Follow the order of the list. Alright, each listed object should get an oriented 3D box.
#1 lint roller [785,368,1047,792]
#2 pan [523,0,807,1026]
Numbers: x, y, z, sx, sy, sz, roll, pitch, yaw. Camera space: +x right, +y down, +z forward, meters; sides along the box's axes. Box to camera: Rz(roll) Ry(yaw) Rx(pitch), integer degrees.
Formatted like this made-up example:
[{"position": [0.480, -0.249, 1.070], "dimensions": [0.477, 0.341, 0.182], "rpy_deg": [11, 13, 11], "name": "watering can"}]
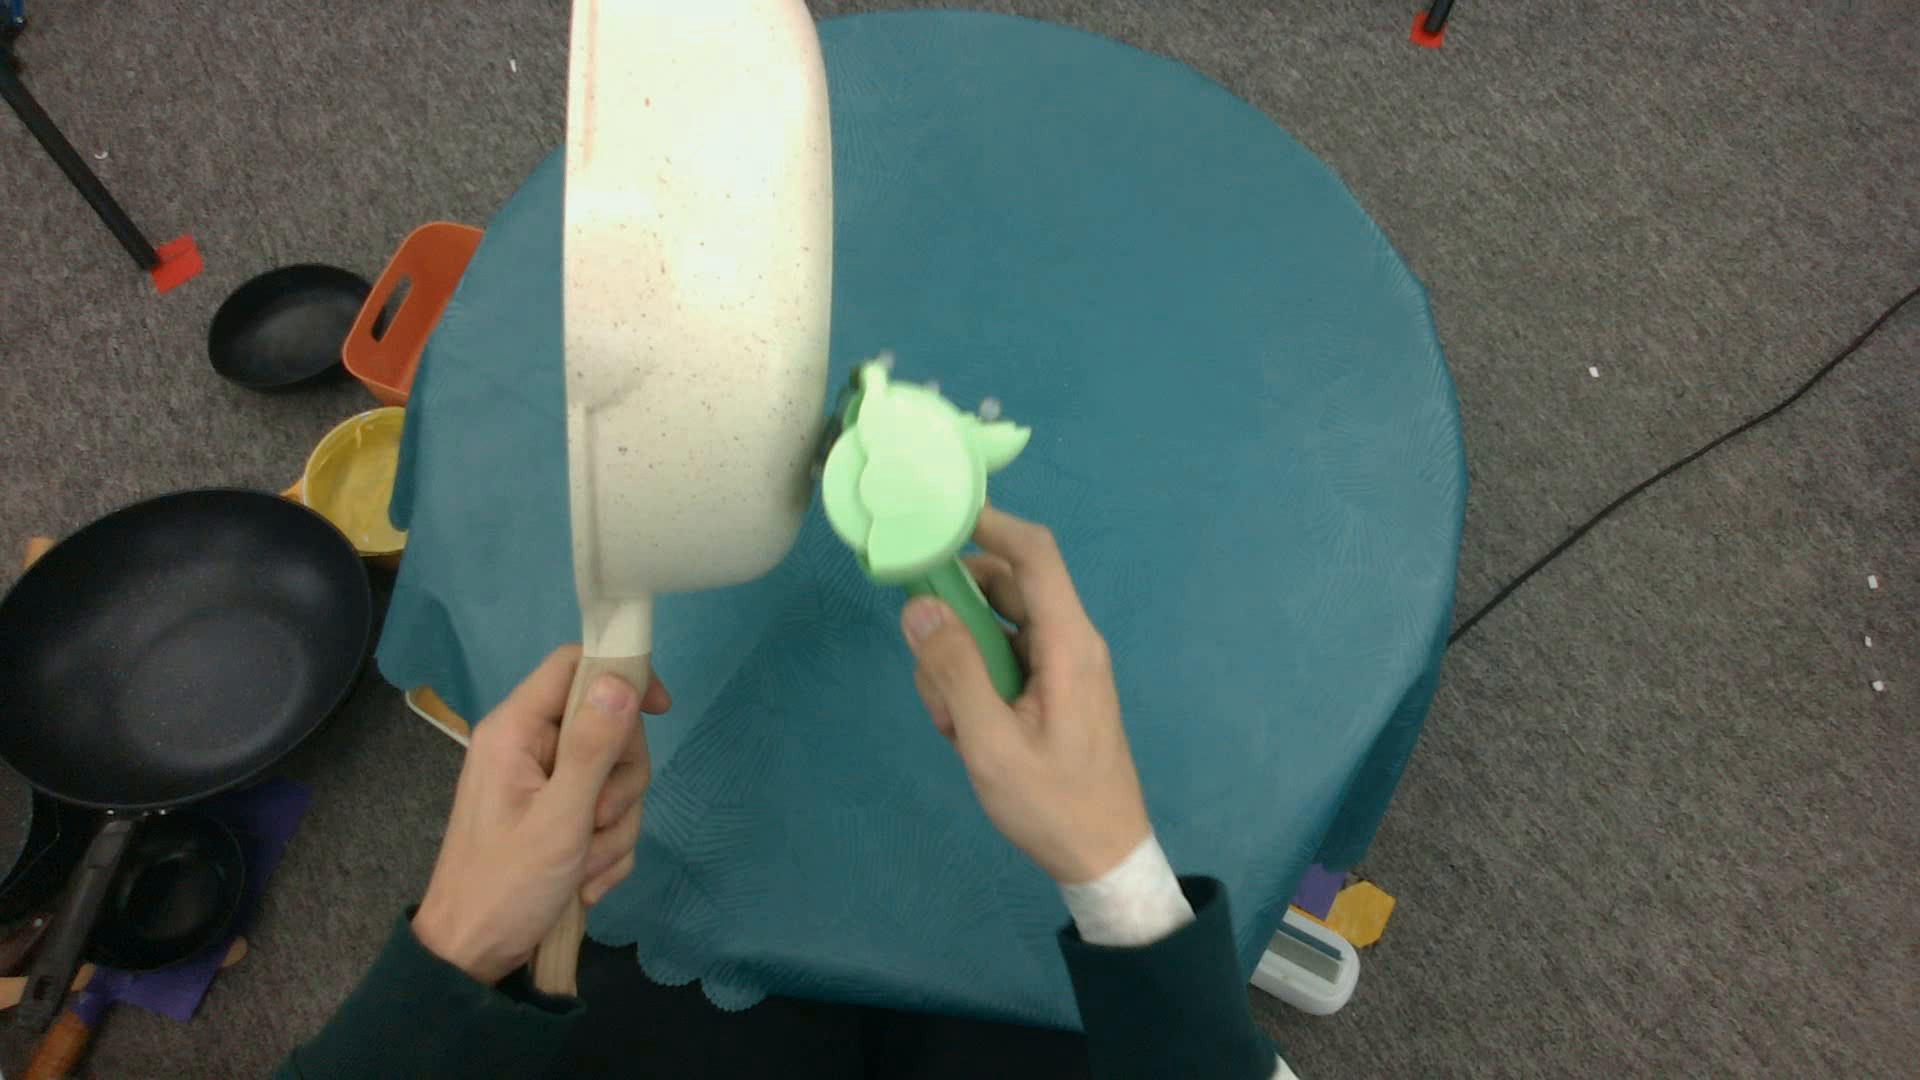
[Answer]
[{"position": [0.001, 0.009, 0.541], "dimensions": [0.082, 0.198, 0.183], "rpy_deg": [-37, 100, -2], "name": "lint roller"}, {"position": [-0.127, -0.015, 0.549], "dimensions": [0.102, 0.263, 0.434], "rpy_deg": [-1, 102, -17], "name": "pan"}]
